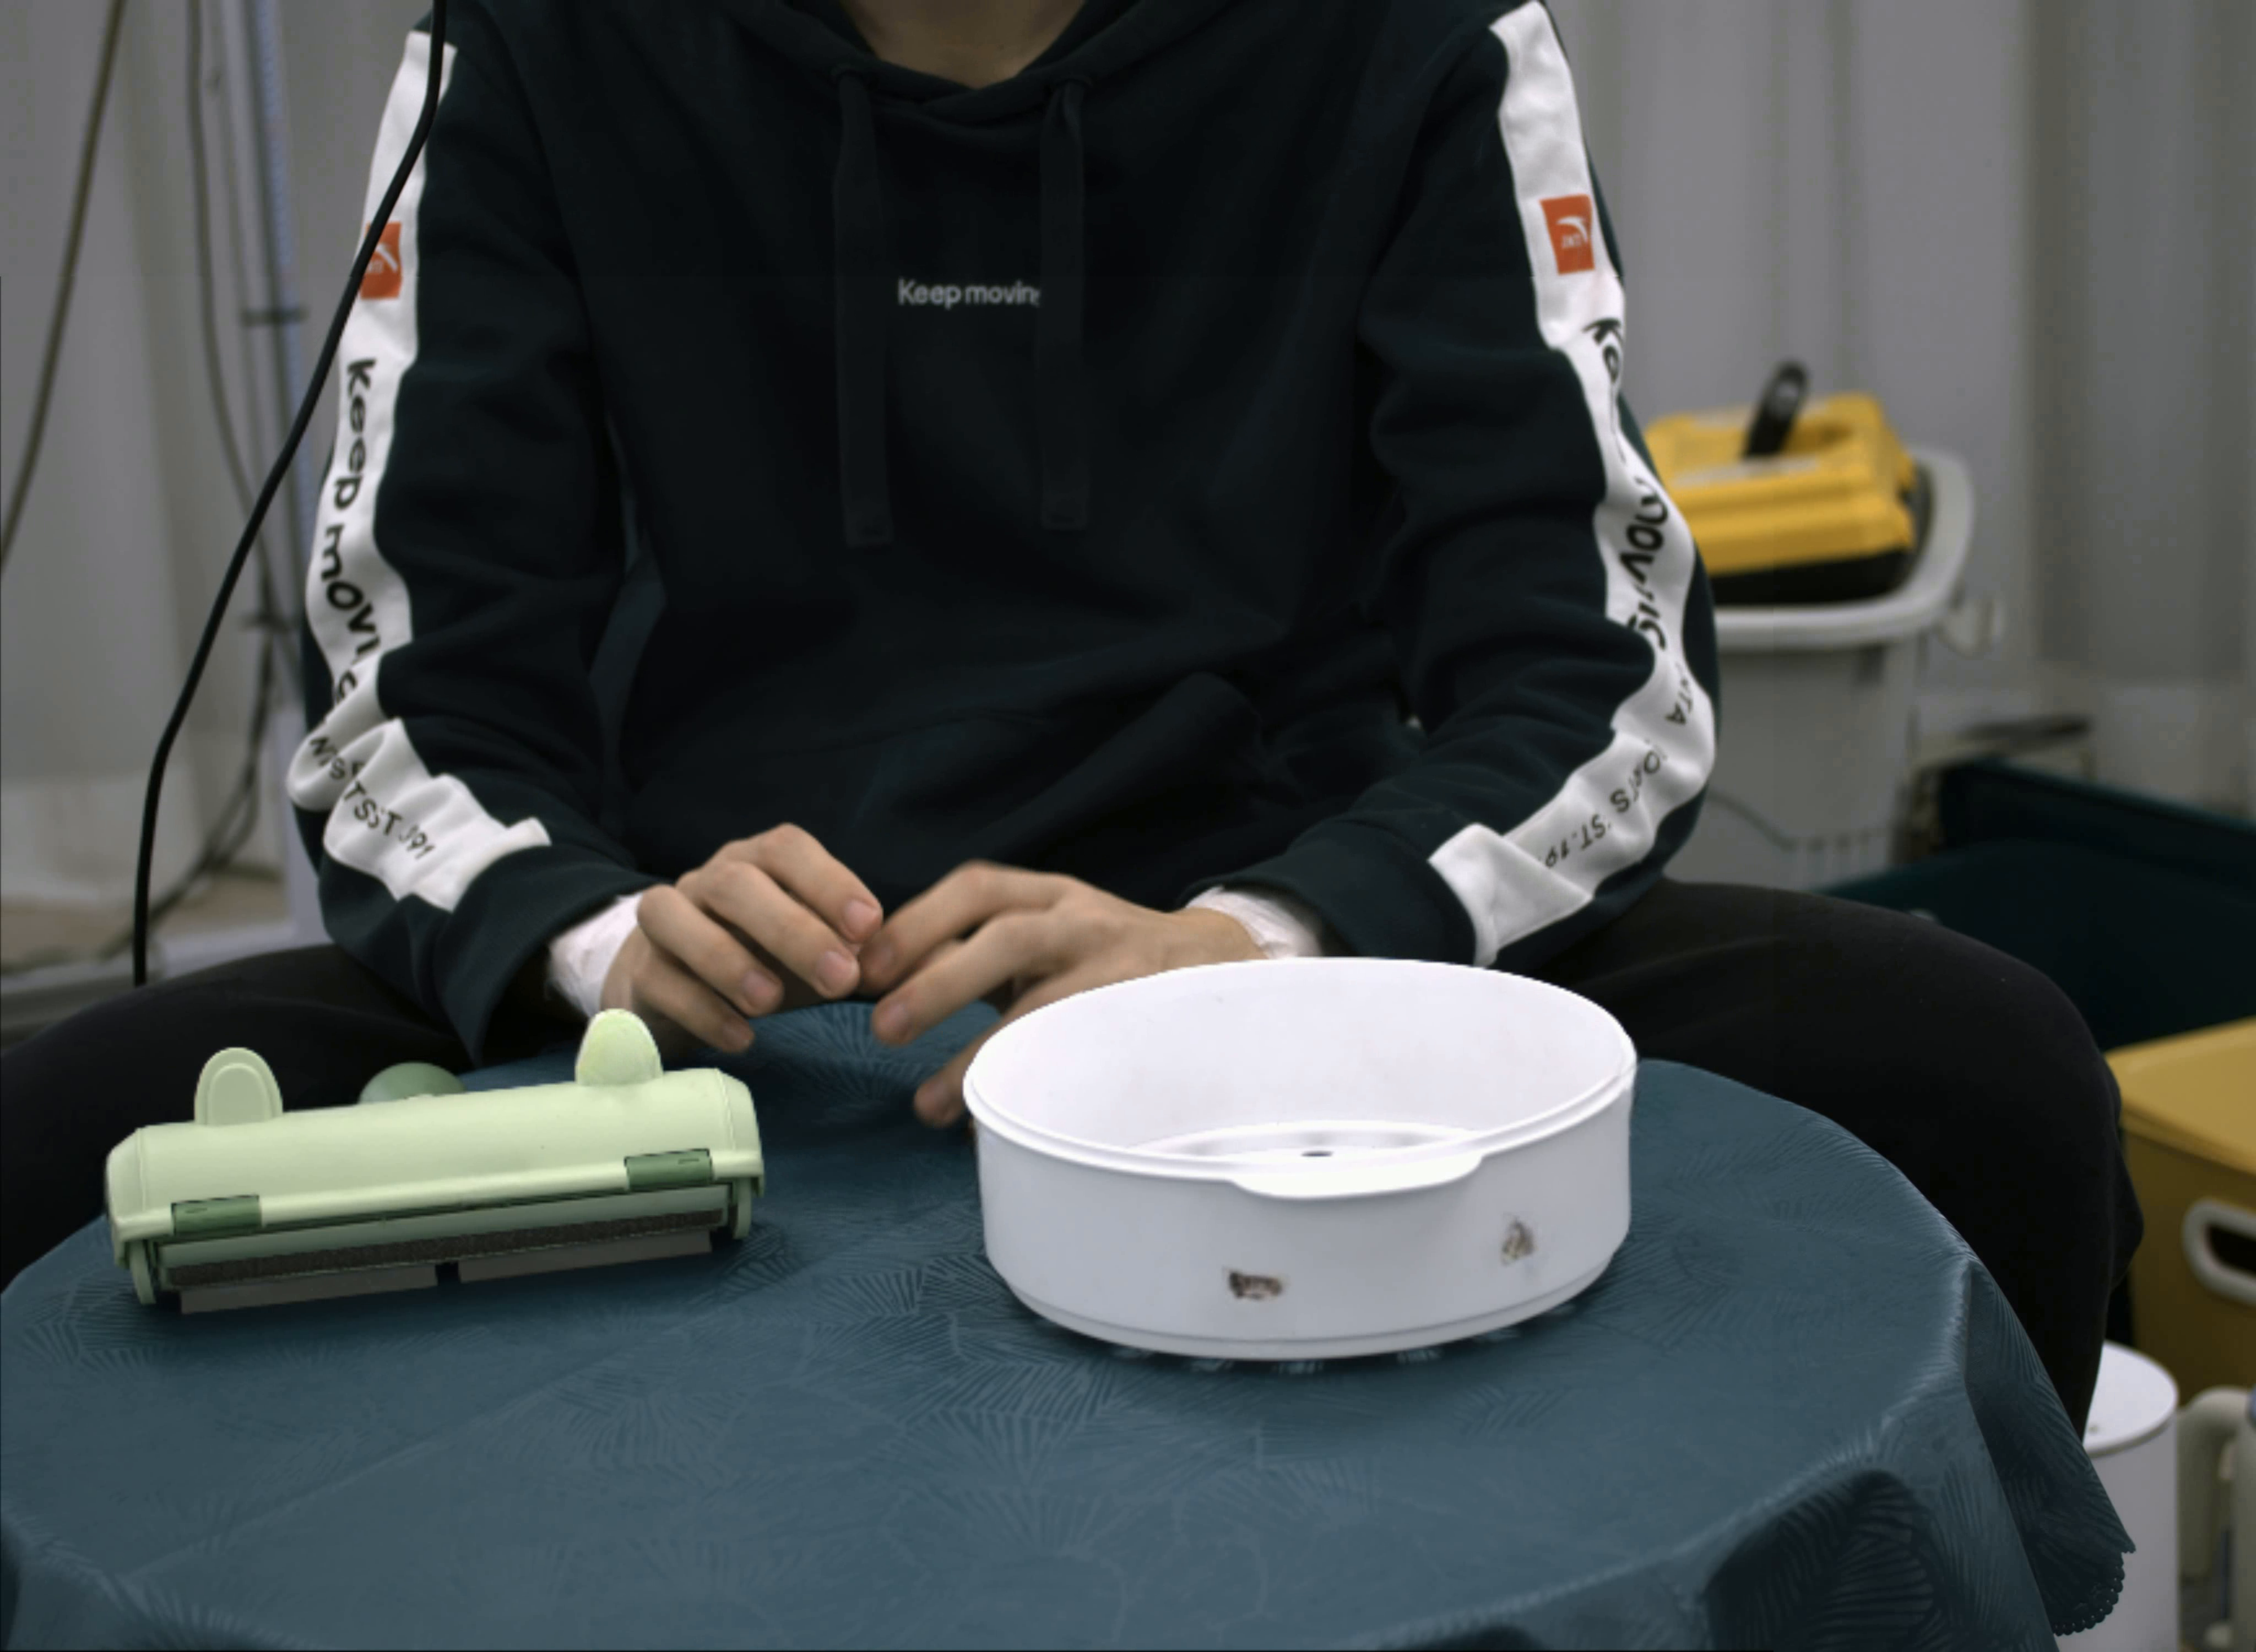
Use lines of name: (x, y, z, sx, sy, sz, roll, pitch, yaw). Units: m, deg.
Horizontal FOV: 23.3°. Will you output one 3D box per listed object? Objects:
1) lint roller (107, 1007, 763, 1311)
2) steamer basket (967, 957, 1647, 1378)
lint roller: (-0.222, 0.086, 1.717, 0.198, 0.082, 0.185, -6, 19, -10)
steamer basket: (0.054, 0.101, 1.624, 0.201, 0.069, 0.232, -6, 17, -7)
